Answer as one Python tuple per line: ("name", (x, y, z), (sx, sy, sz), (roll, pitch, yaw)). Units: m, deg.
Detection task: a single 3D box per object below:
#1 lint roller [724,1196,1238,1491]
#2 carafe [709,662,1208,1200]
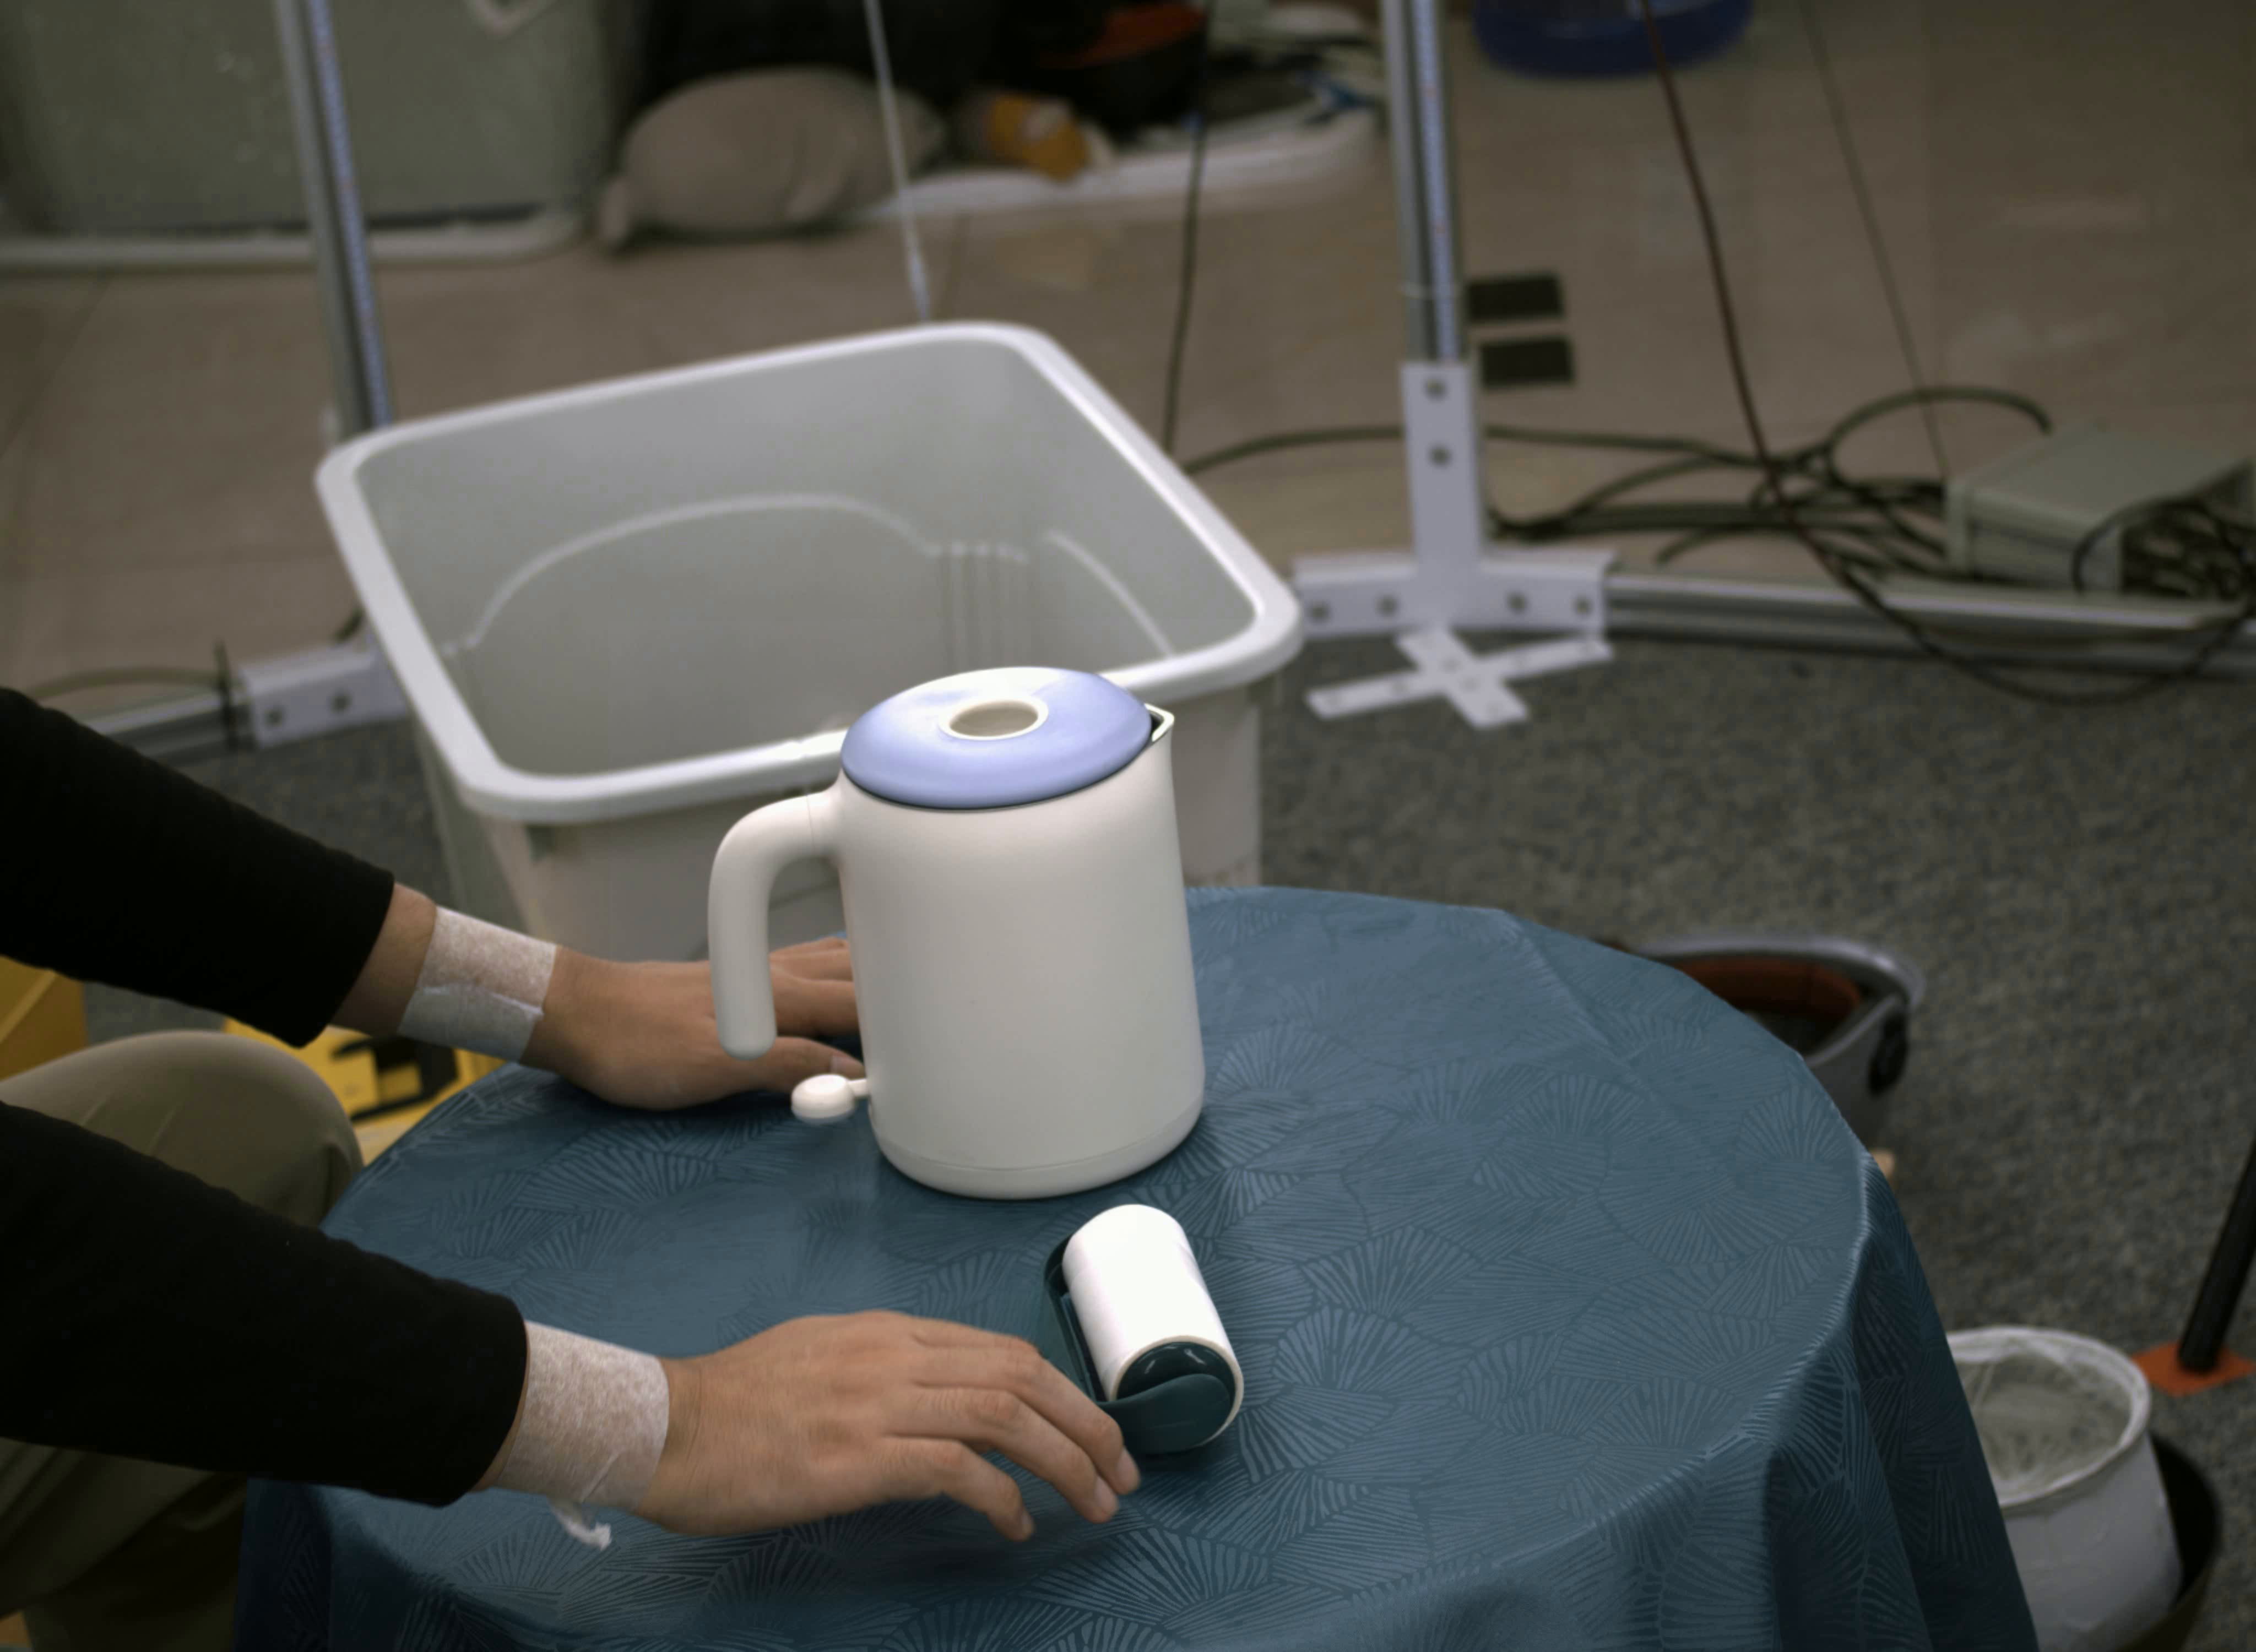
("lint roller", (-0.058, 0.191, 2.000), (0.180, 0.049, 0.132), (-12, 25, -6))
("carafe", (-0.066, 0.044, 2.162), (0.190, 0.185, 0.130), (-11, 25, -5))
